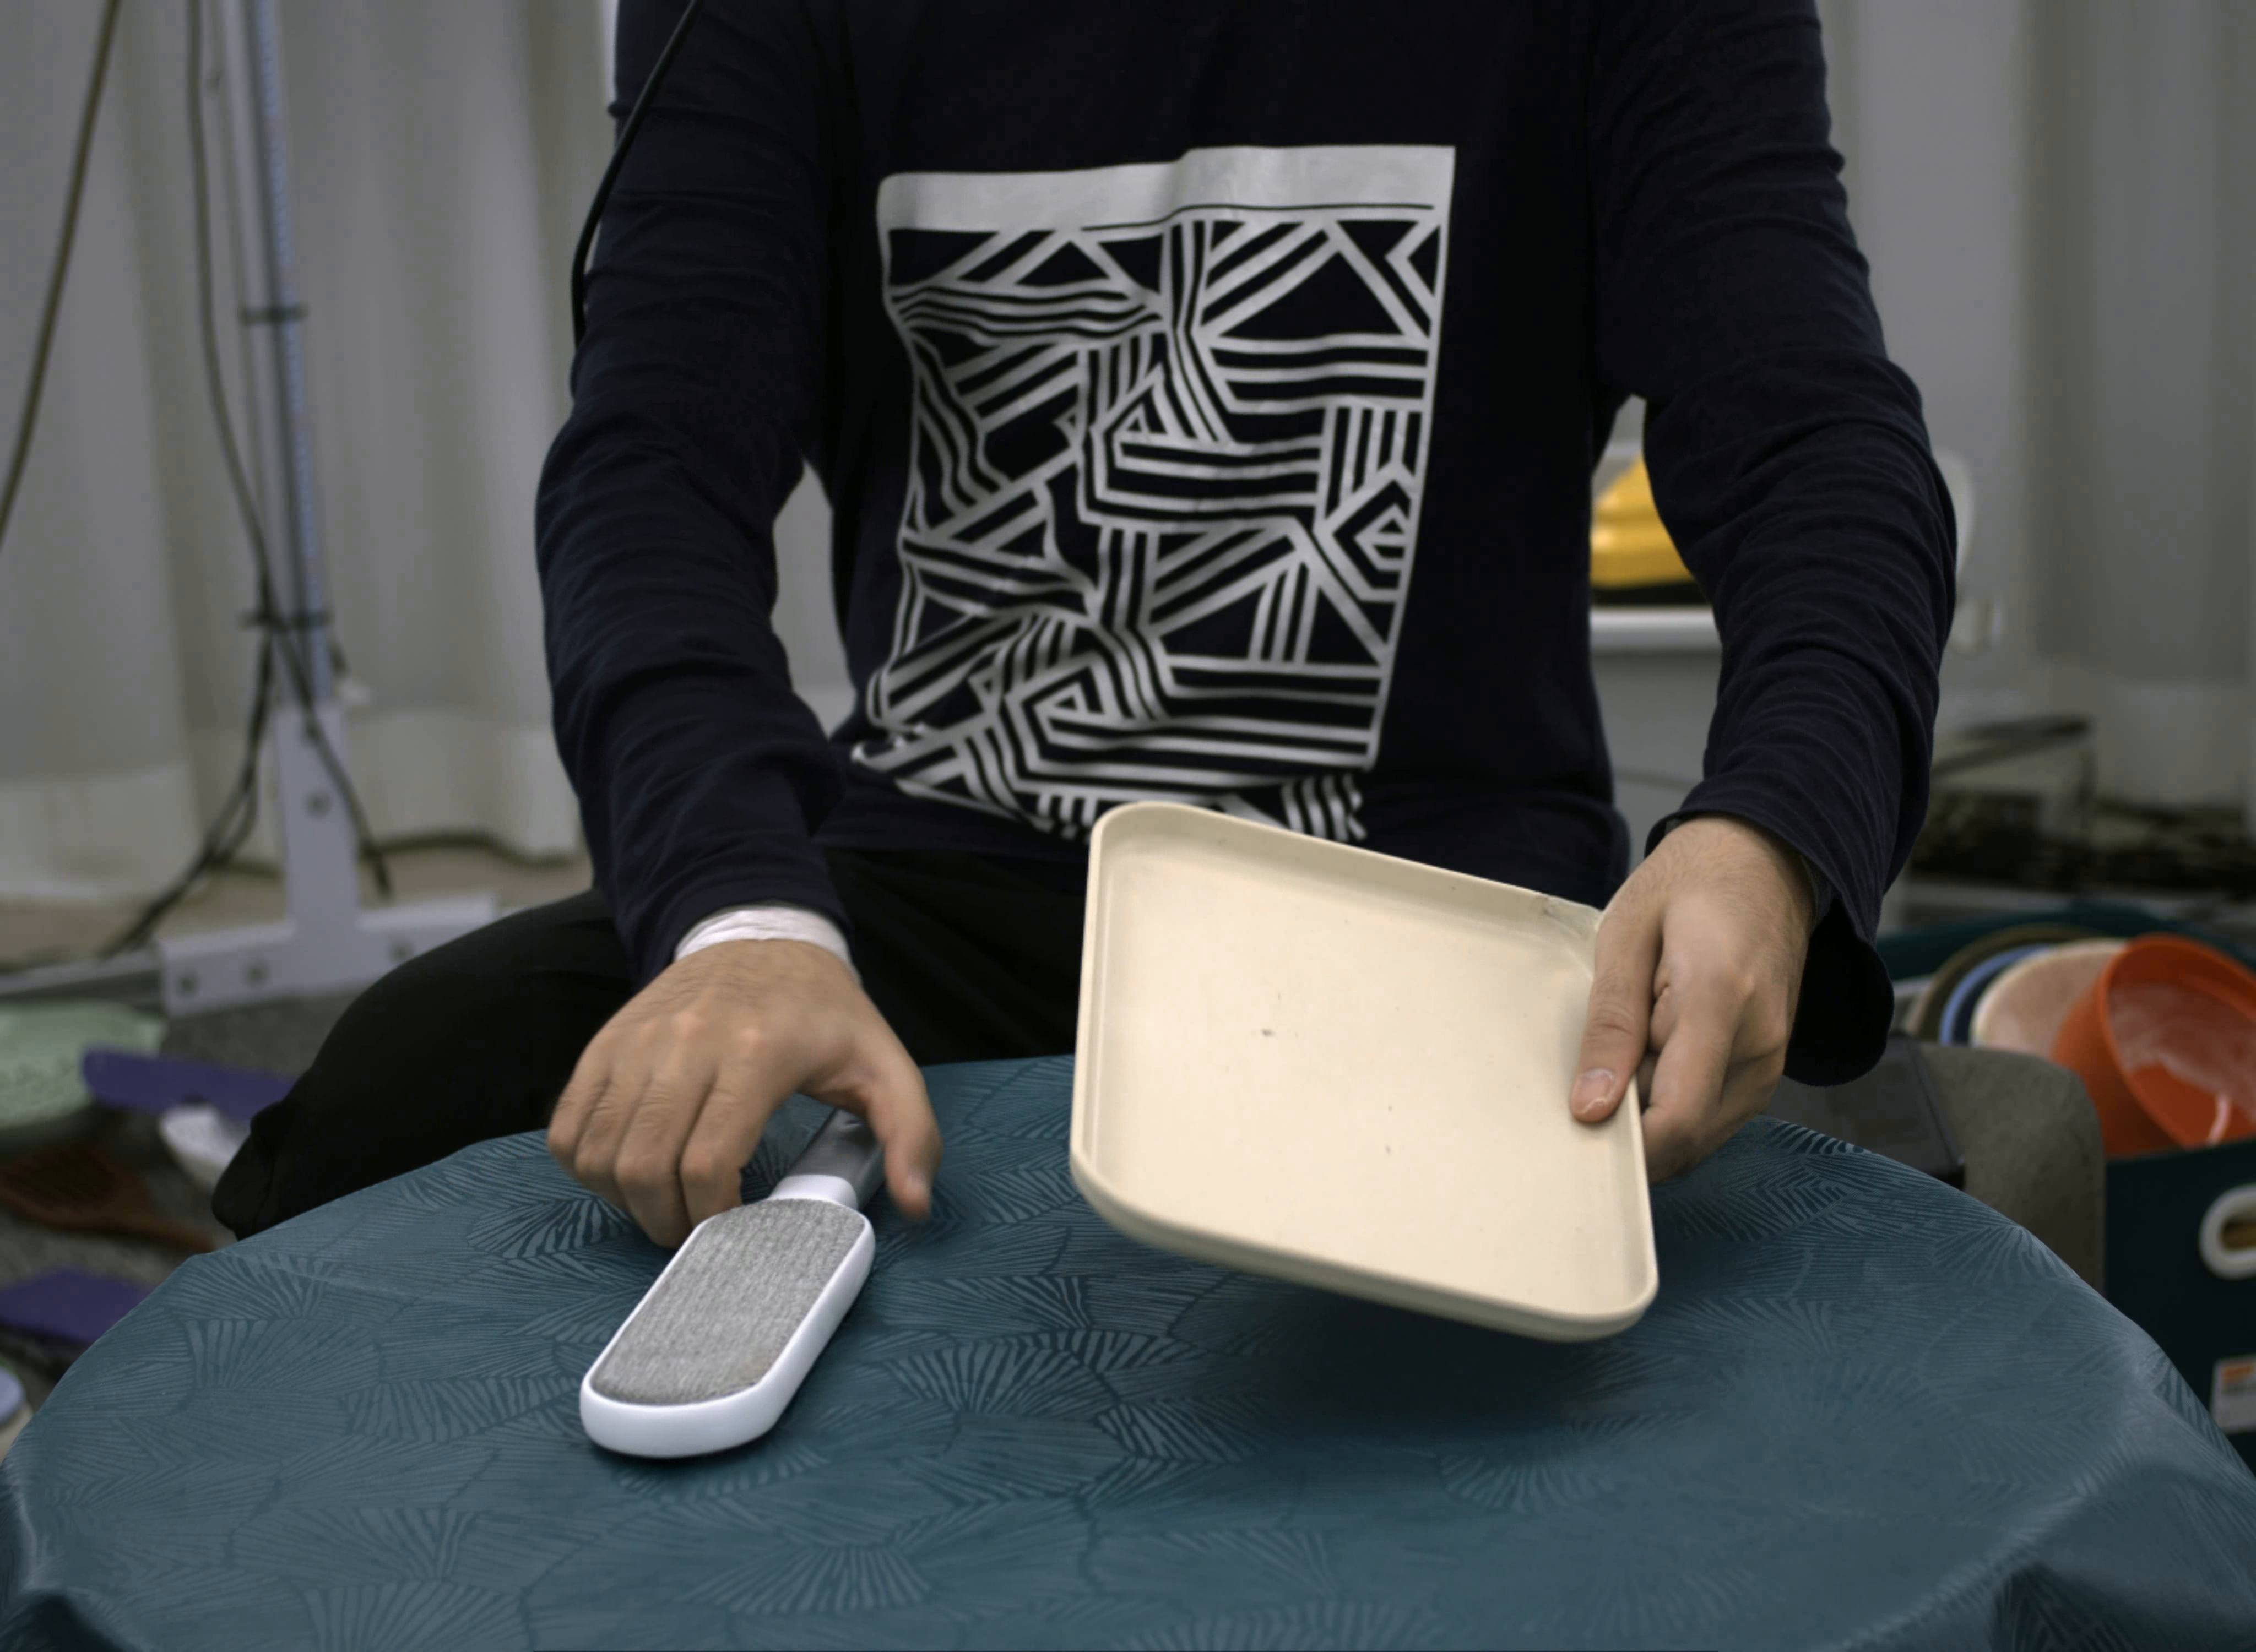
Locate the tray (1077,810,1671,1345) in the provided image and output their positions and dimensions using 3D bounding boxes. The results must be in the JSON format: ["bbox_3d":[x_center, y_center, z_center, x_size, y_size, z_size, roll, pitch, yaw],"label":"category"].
[{"bbox_3d":[0.068,0.072,1.593,0.170,0.017,0.242,12,28,-5],"label":"tray"}]

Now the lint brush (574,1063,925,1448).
[{"bbox_3d":[-0.103,0.125,1.645,0.060,0.021,0.310,-6,14,12],"label":"lint brush"}]
